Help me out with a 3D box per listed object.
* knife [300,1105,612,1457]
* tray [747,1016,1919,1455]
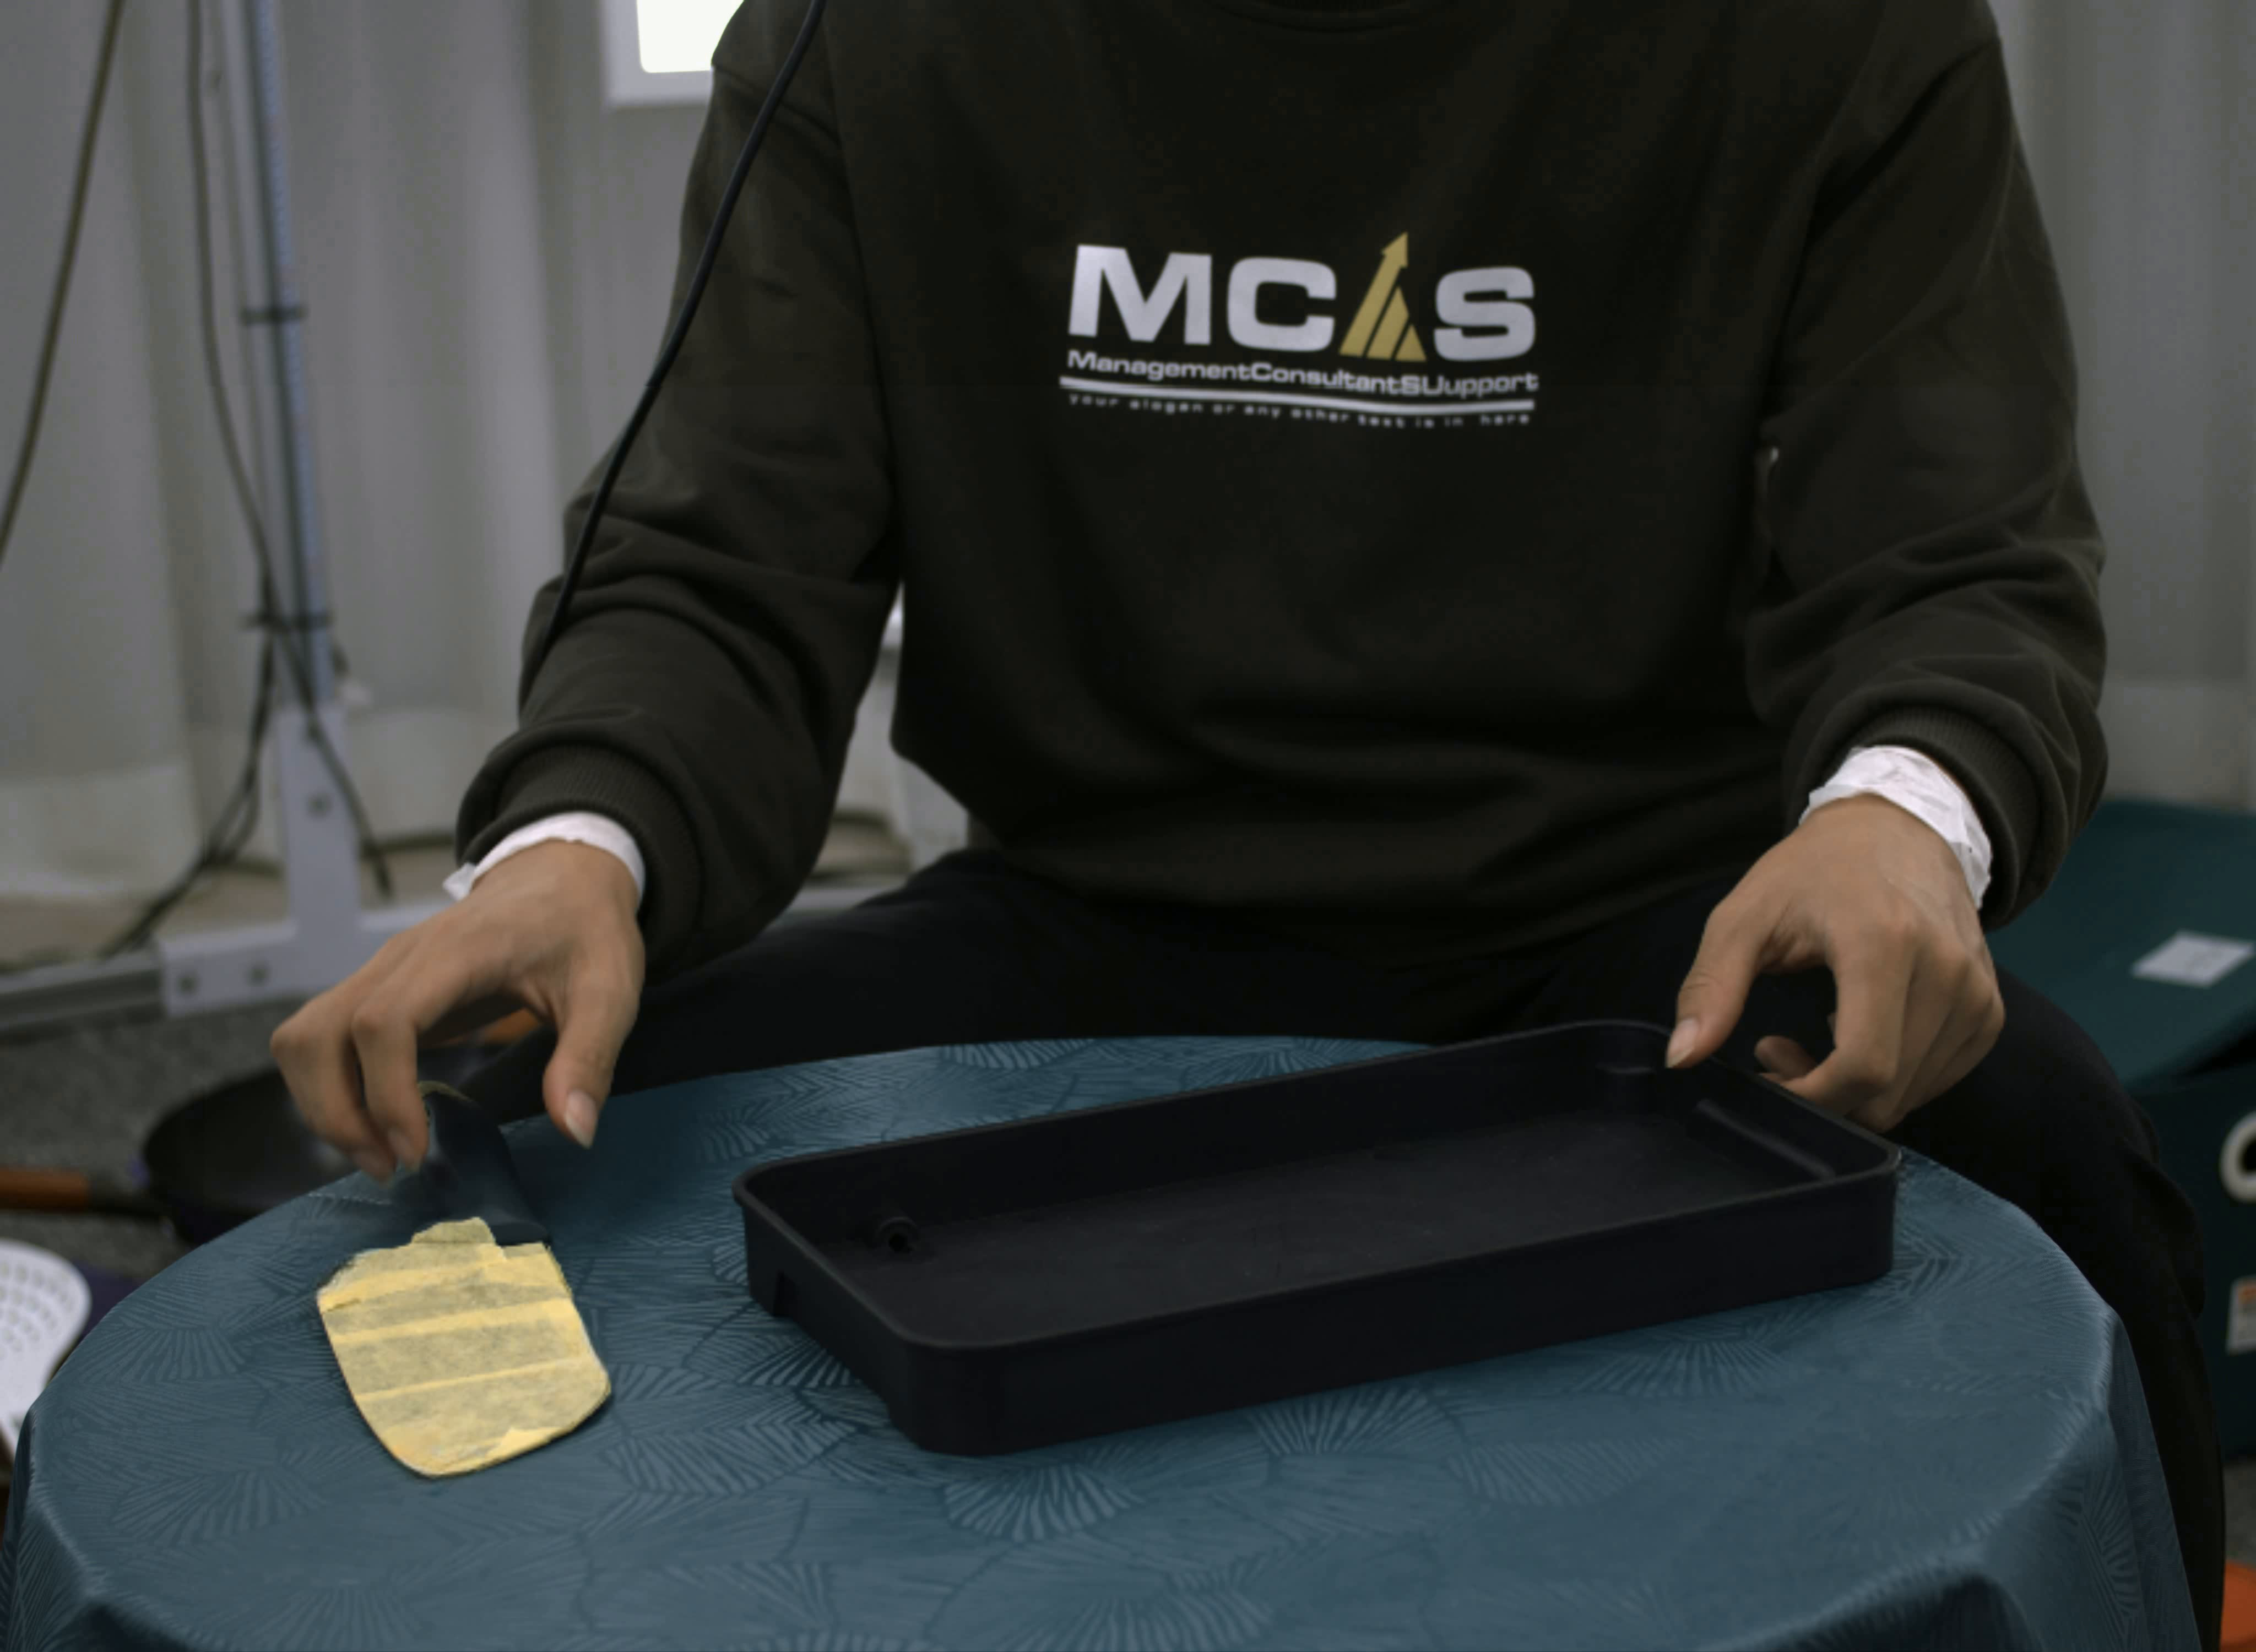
[{"bbox_3d":[-0.207,0.137,1.645,0.080,0.027,0.292,-4,16,-12],"label":"knife"},{"bbox_3d":[0.061,0.117,1.629,0.316,0.037,0.185,-9,15,-23],"label":"tray"}]
